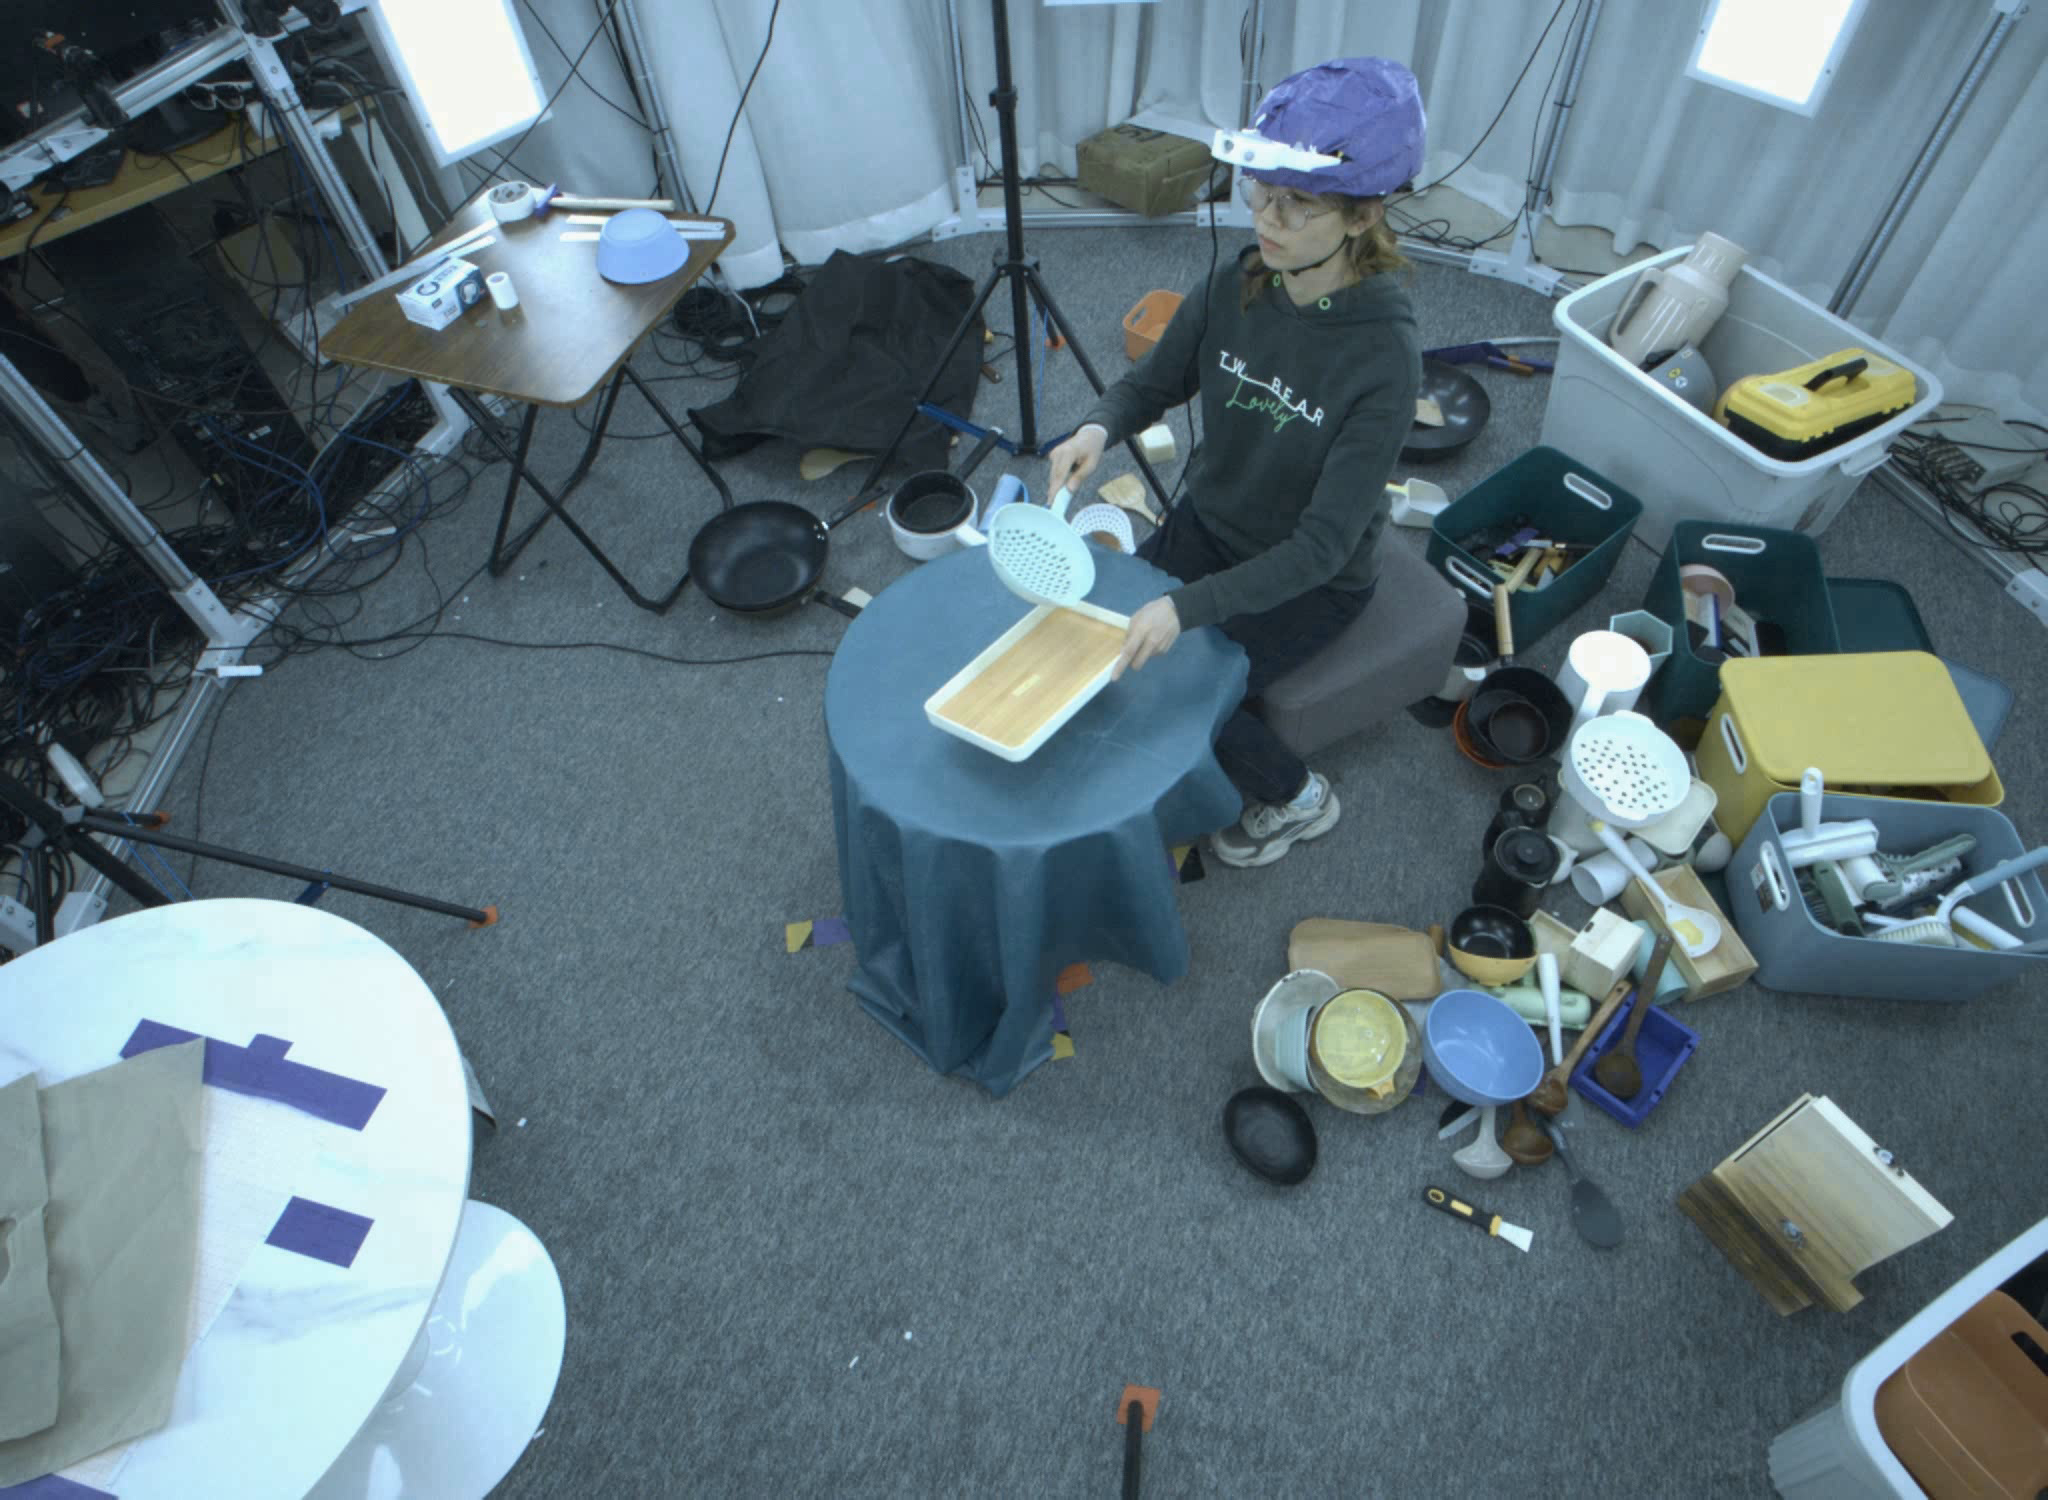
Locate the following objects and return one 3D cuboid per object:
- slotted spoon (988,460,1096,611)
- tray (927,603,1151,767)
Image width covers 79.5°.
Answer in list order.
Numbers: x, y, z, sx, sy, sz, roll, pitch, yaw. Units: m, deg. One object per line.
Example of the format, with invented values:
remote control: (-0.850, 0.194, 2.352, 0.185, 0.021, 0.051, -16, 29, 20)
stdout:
slotted spoon: (0.044, -0.331, 1.779, 0.171, 0.074, 0.358, 33, 53, -15)
tray: (0.023, -0.104, 1.758, 0.187, 0.028, 0.302, 26, 57, 36)
